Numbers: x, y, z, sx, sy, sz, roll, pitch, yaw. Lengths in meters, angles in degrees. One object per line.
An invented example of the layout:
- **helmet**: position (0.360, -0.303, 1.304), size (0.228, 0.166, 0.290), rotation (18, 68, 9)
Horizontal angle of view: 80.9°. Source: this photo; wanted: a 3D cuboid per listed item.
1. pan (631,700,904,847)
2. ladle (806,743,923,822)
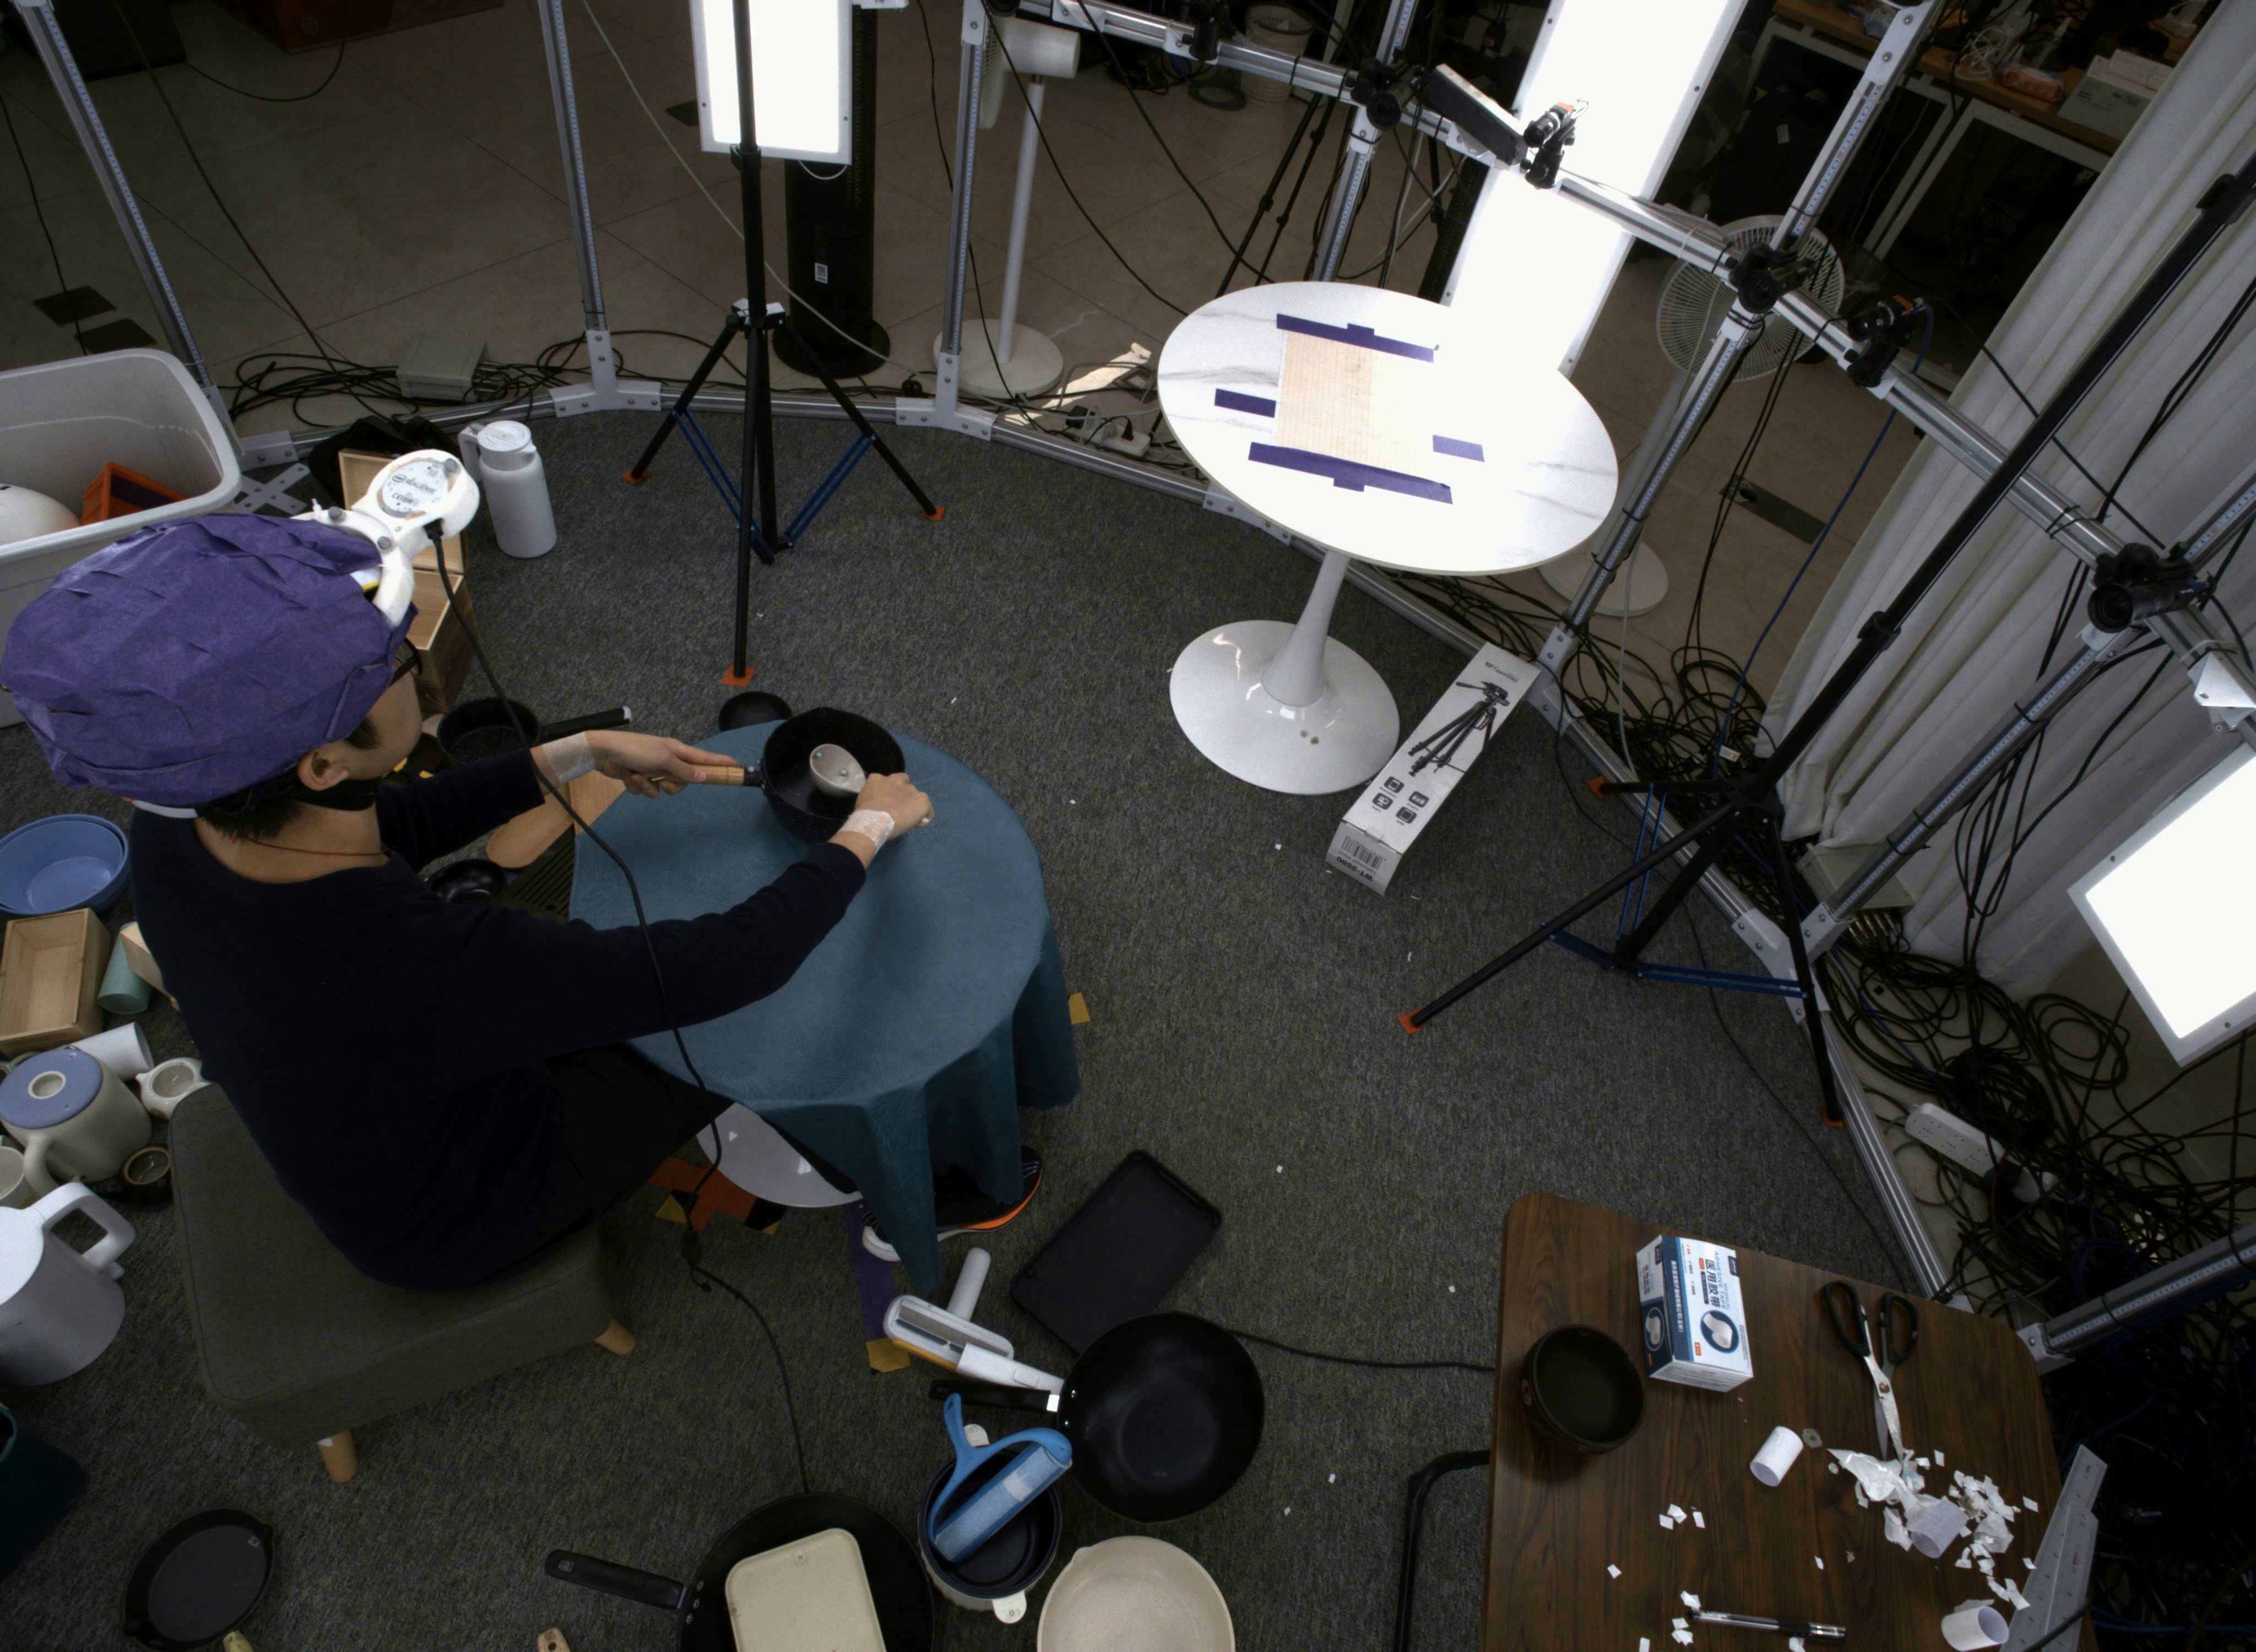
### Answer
- **pan**: position (-0.461, -0.058, 1.662), size (0.346, 0.109, 0.203), rotation (-6, 57, -27)
- **ladle**: position (-0.323, -0.057, 1.647), size (0.092, 0.265, 0.070), rotation (29, 79, -41)
